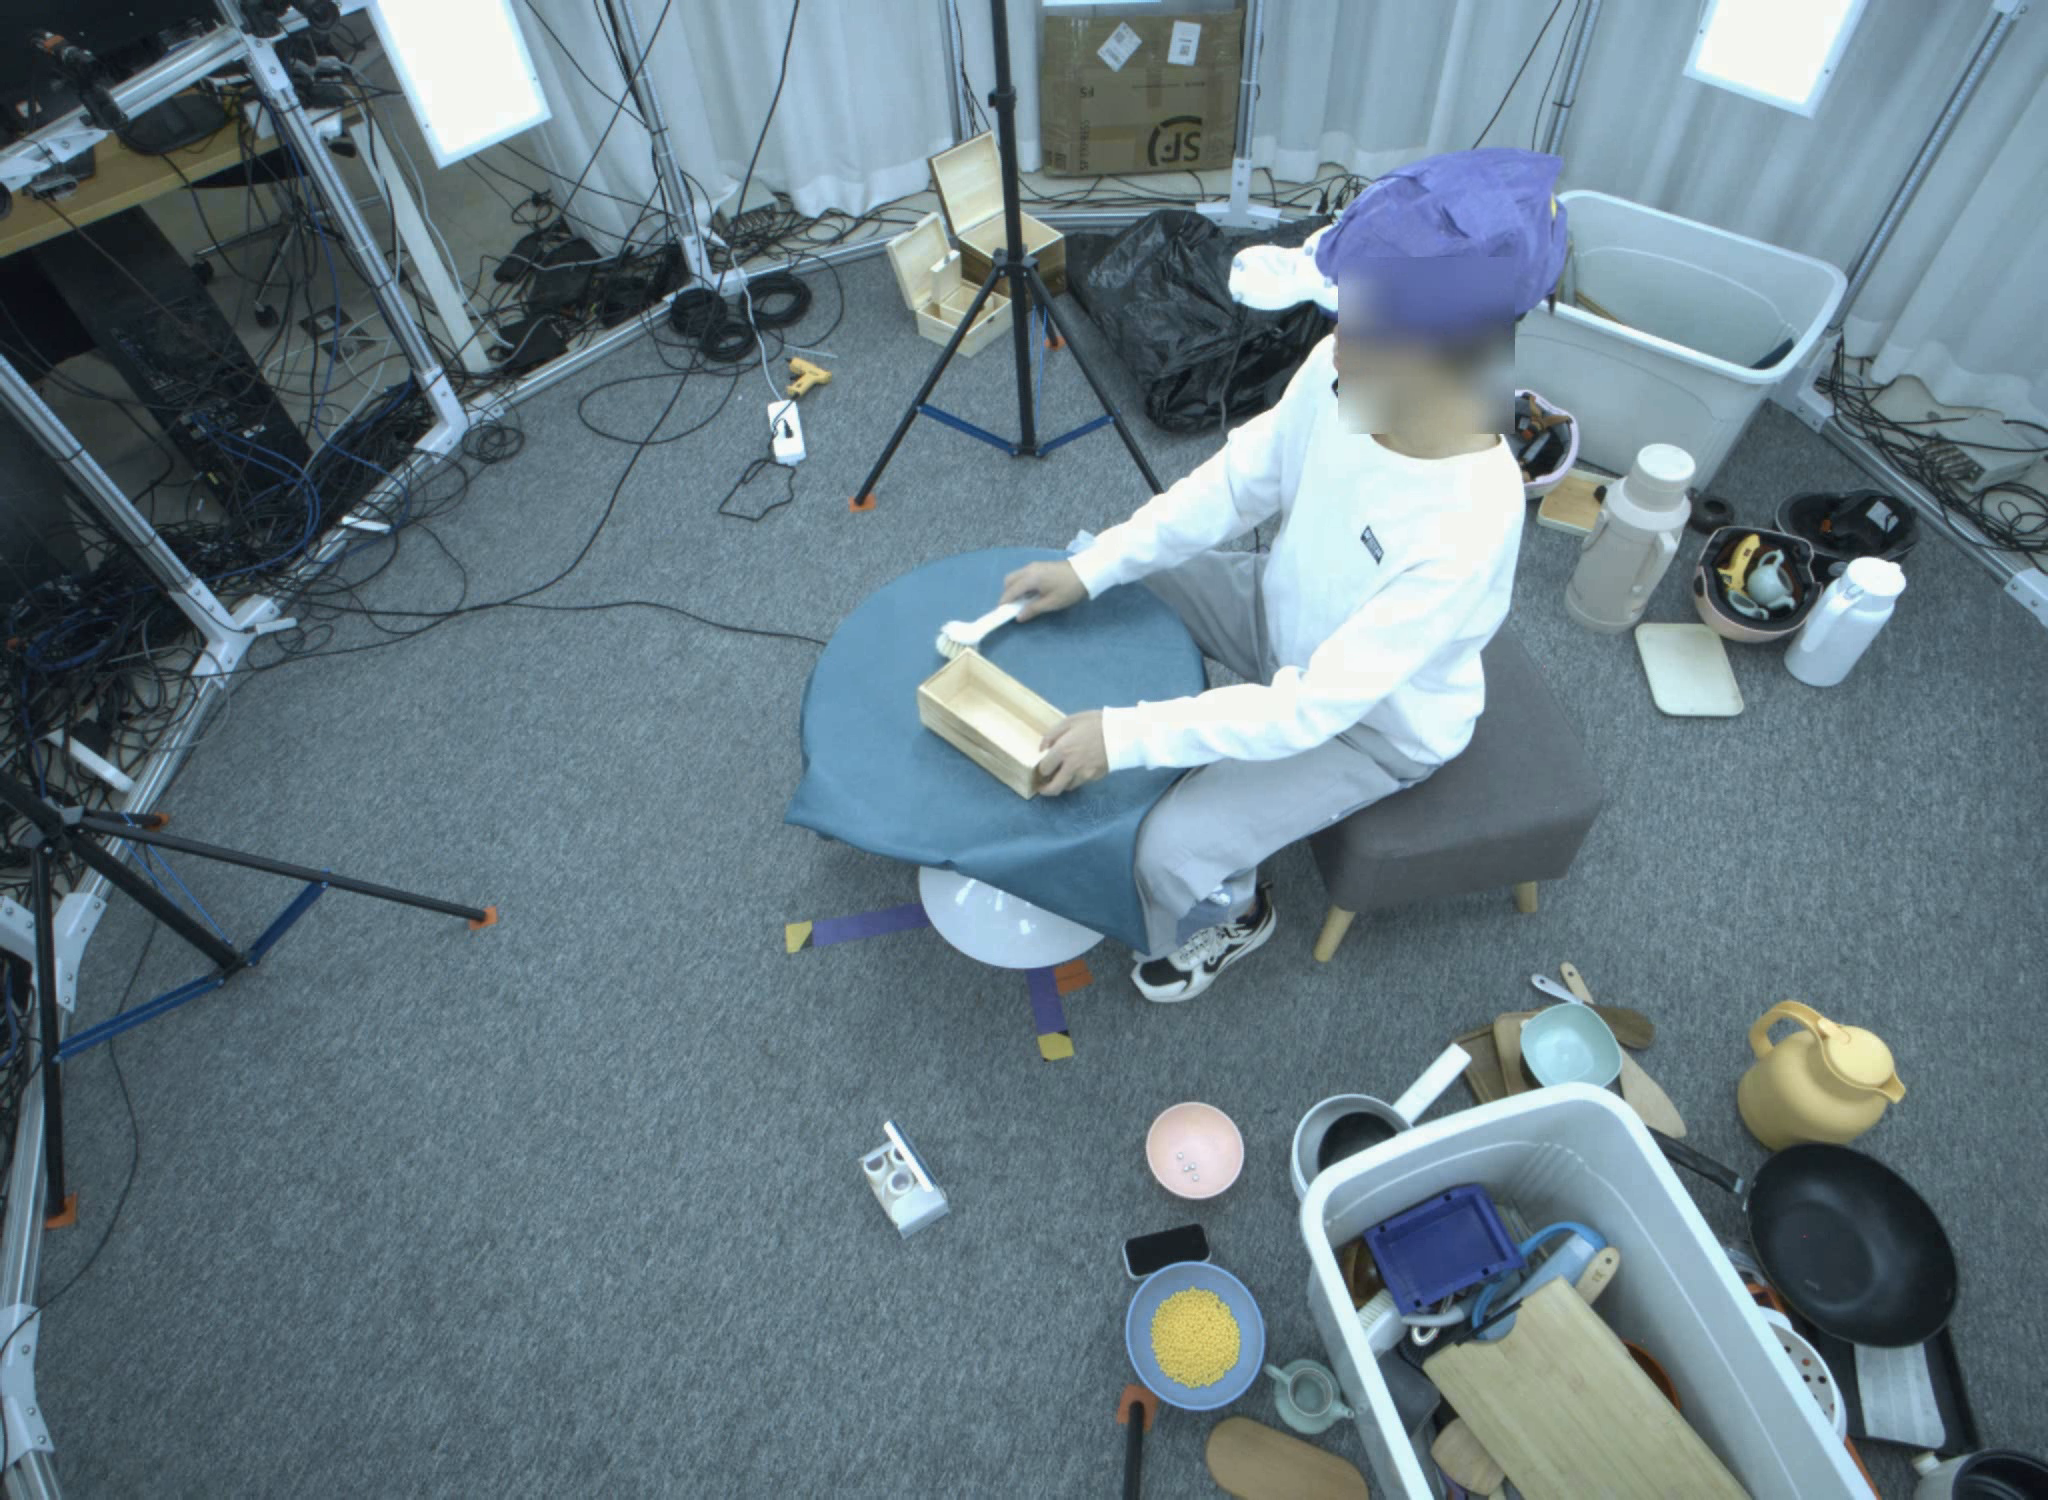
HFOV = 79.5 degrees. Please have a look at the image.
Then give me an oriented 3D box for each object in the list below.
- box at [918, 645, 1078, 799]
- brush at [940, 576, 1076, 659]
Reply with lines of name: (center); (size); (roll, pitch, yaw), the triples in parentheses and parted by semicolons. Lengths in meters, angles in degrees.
box: (-0.039, -0.042, 1.757); (0.208, 0.081, 0.108); (36, 60, 20)
brush: (-0.021, -0.206, 1.920); (0.270, 0.056, 0.067); (-28, 62, -36)
